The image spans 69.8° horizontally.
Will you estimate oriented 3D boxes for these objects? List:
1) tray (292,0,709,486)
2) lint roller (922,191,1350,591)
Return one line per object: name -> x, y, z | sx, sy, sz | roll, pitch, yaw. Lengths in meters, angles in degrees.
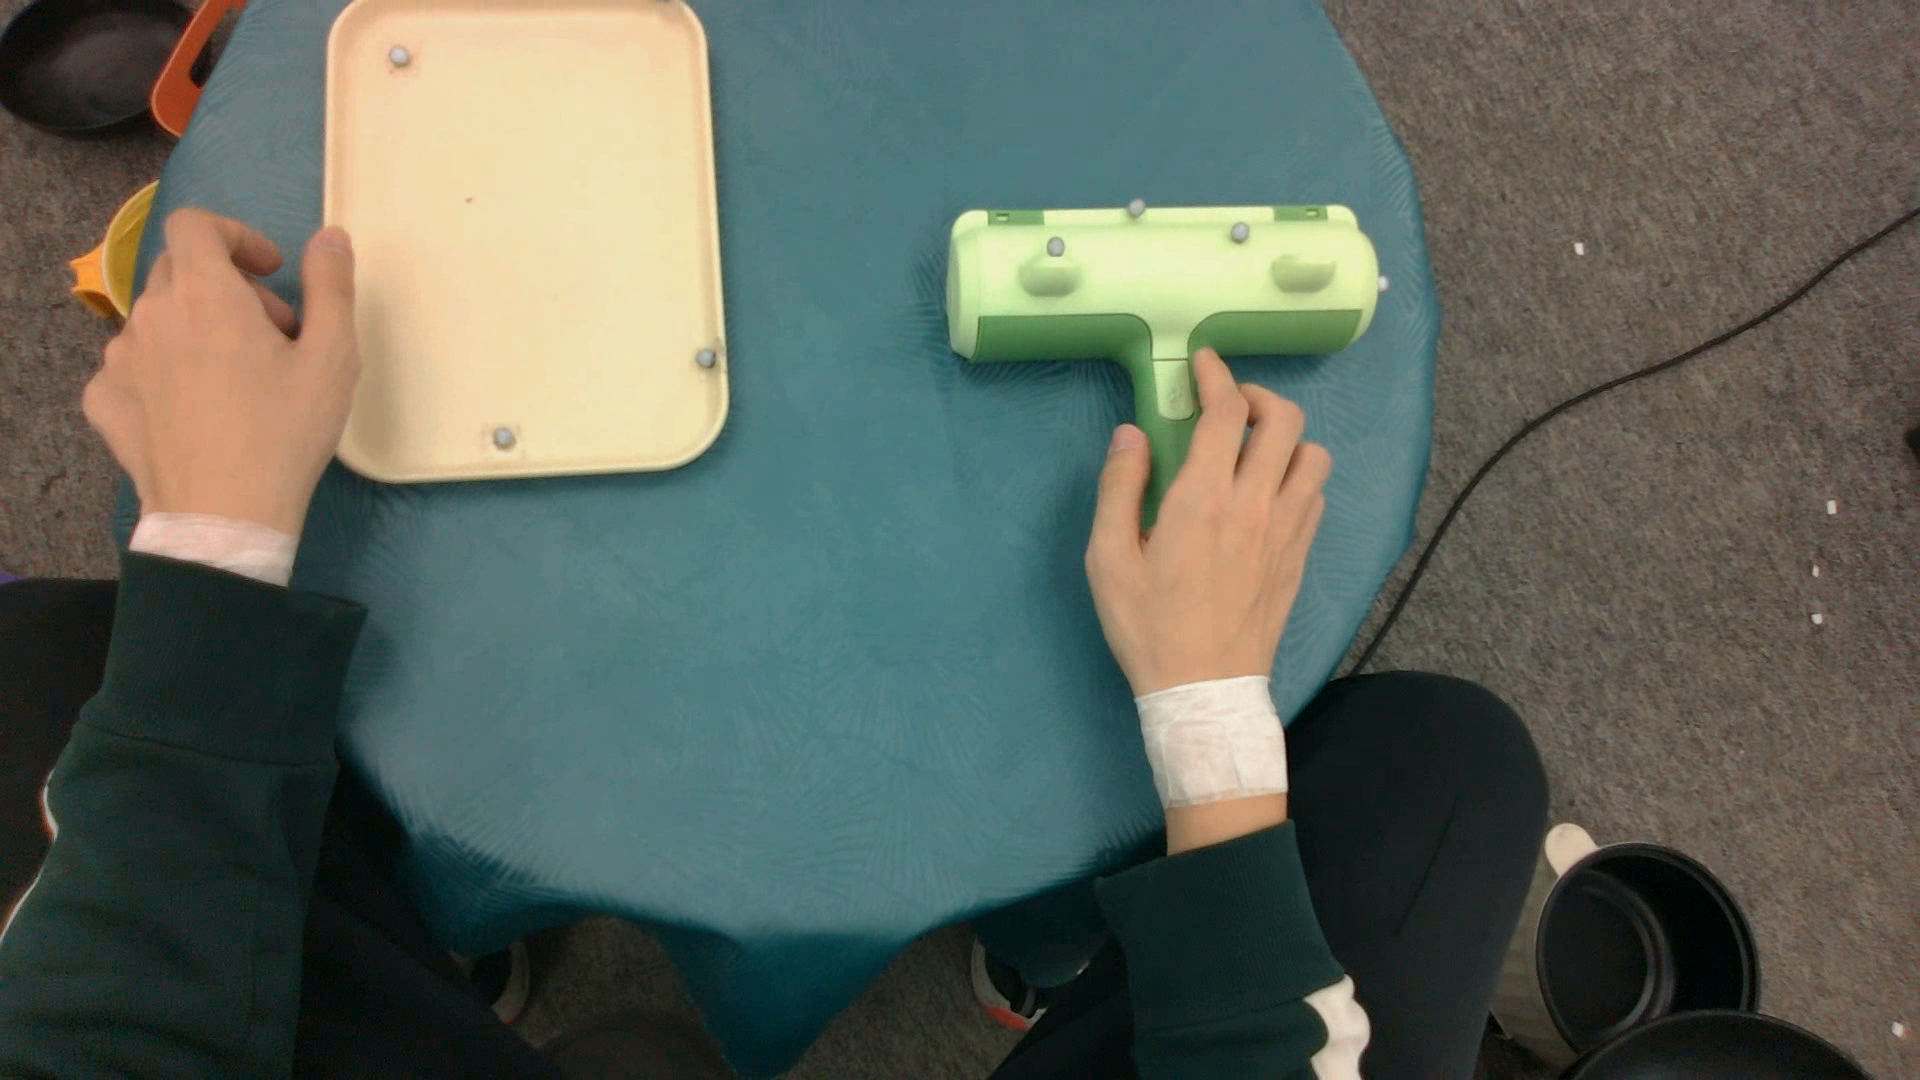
tray -> -0.208, -0.142, 0.624 | 0.171, 0.017, 0.240 | -6, 76, -9
lint roller -> 0.089, -0.074, 0.620 | 0.199, 0.082, 0.184 | -3, 72, -9
